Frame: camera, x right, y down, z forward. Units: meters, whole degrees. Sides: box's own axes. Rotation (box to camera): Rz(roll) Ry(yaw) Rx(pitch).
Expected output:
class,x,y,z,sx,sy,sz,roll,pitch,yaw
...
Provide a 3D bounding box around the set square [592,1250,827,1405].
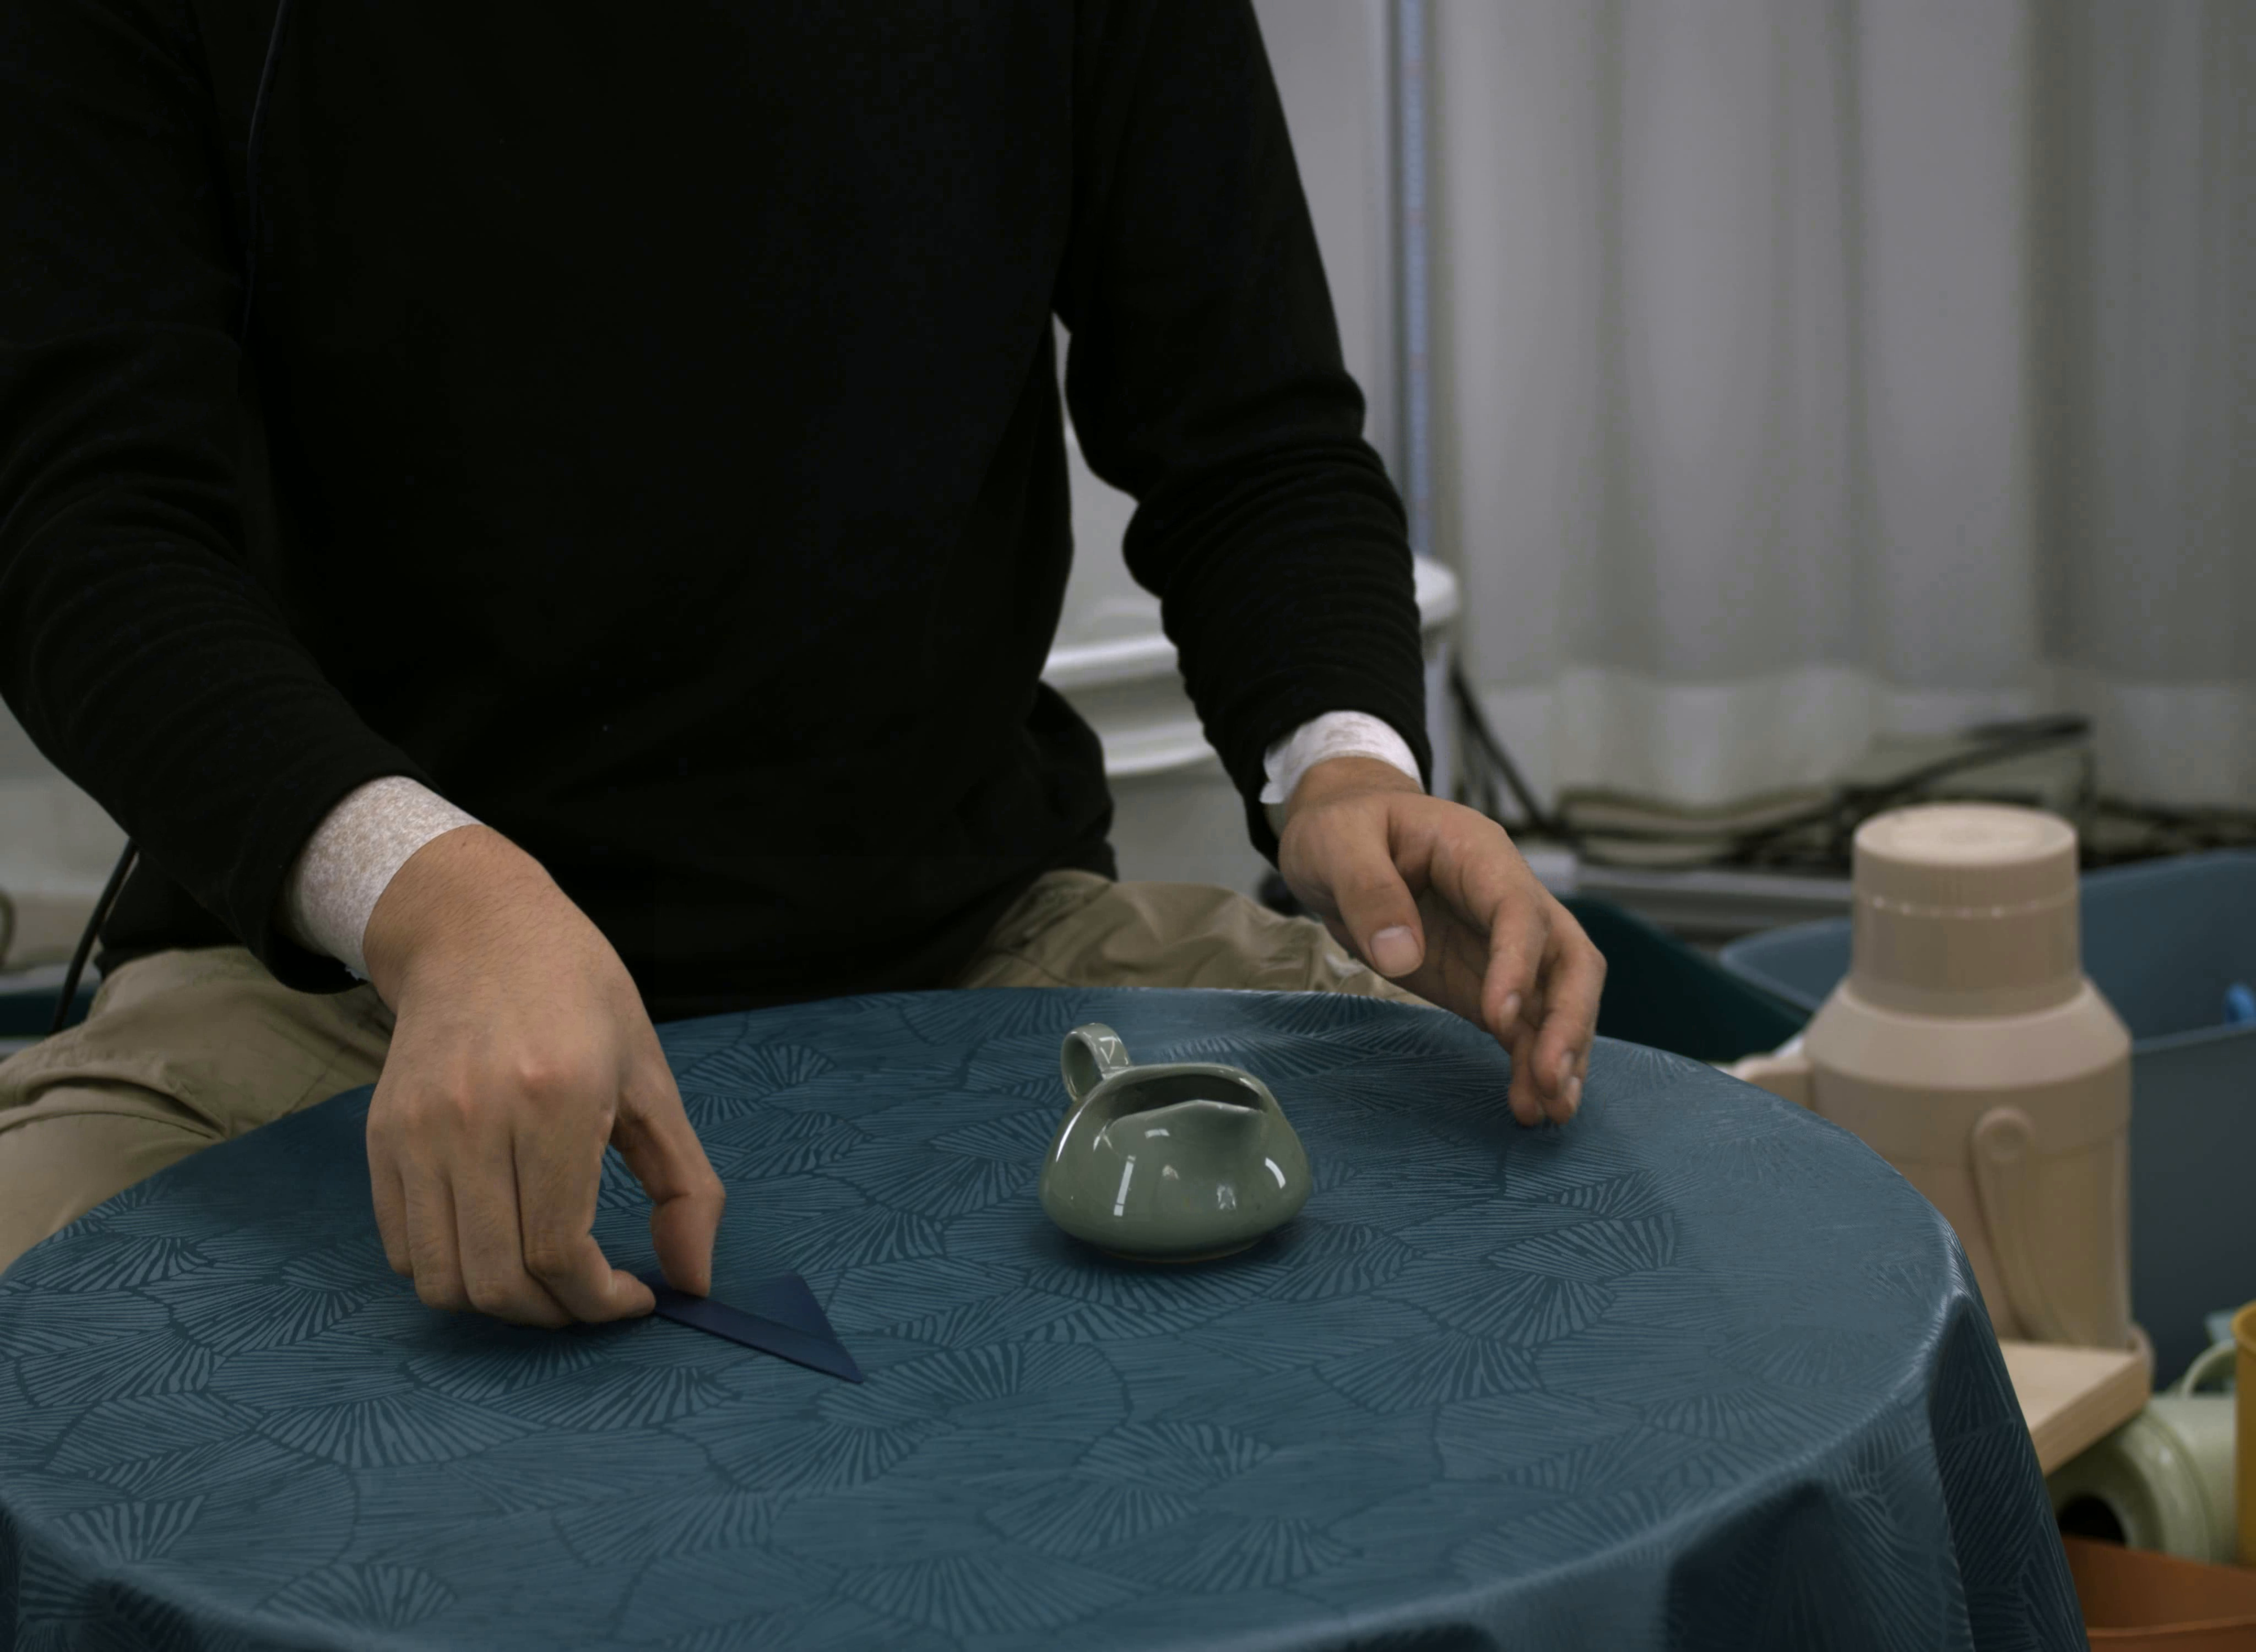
class,x,y,z,sx,sy,sz,roll,pitch,yaw
set square,-0.124,0.148,1.606,0.061,0.006,0.133,-5,15,-10

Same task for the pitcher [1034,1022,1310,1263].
class,x,y,z,sx,sy,sz,roll,pitch,yaw
pitcher,0.010,0.097,1.670,0.084,0.056,0.113,-8,15,-28
